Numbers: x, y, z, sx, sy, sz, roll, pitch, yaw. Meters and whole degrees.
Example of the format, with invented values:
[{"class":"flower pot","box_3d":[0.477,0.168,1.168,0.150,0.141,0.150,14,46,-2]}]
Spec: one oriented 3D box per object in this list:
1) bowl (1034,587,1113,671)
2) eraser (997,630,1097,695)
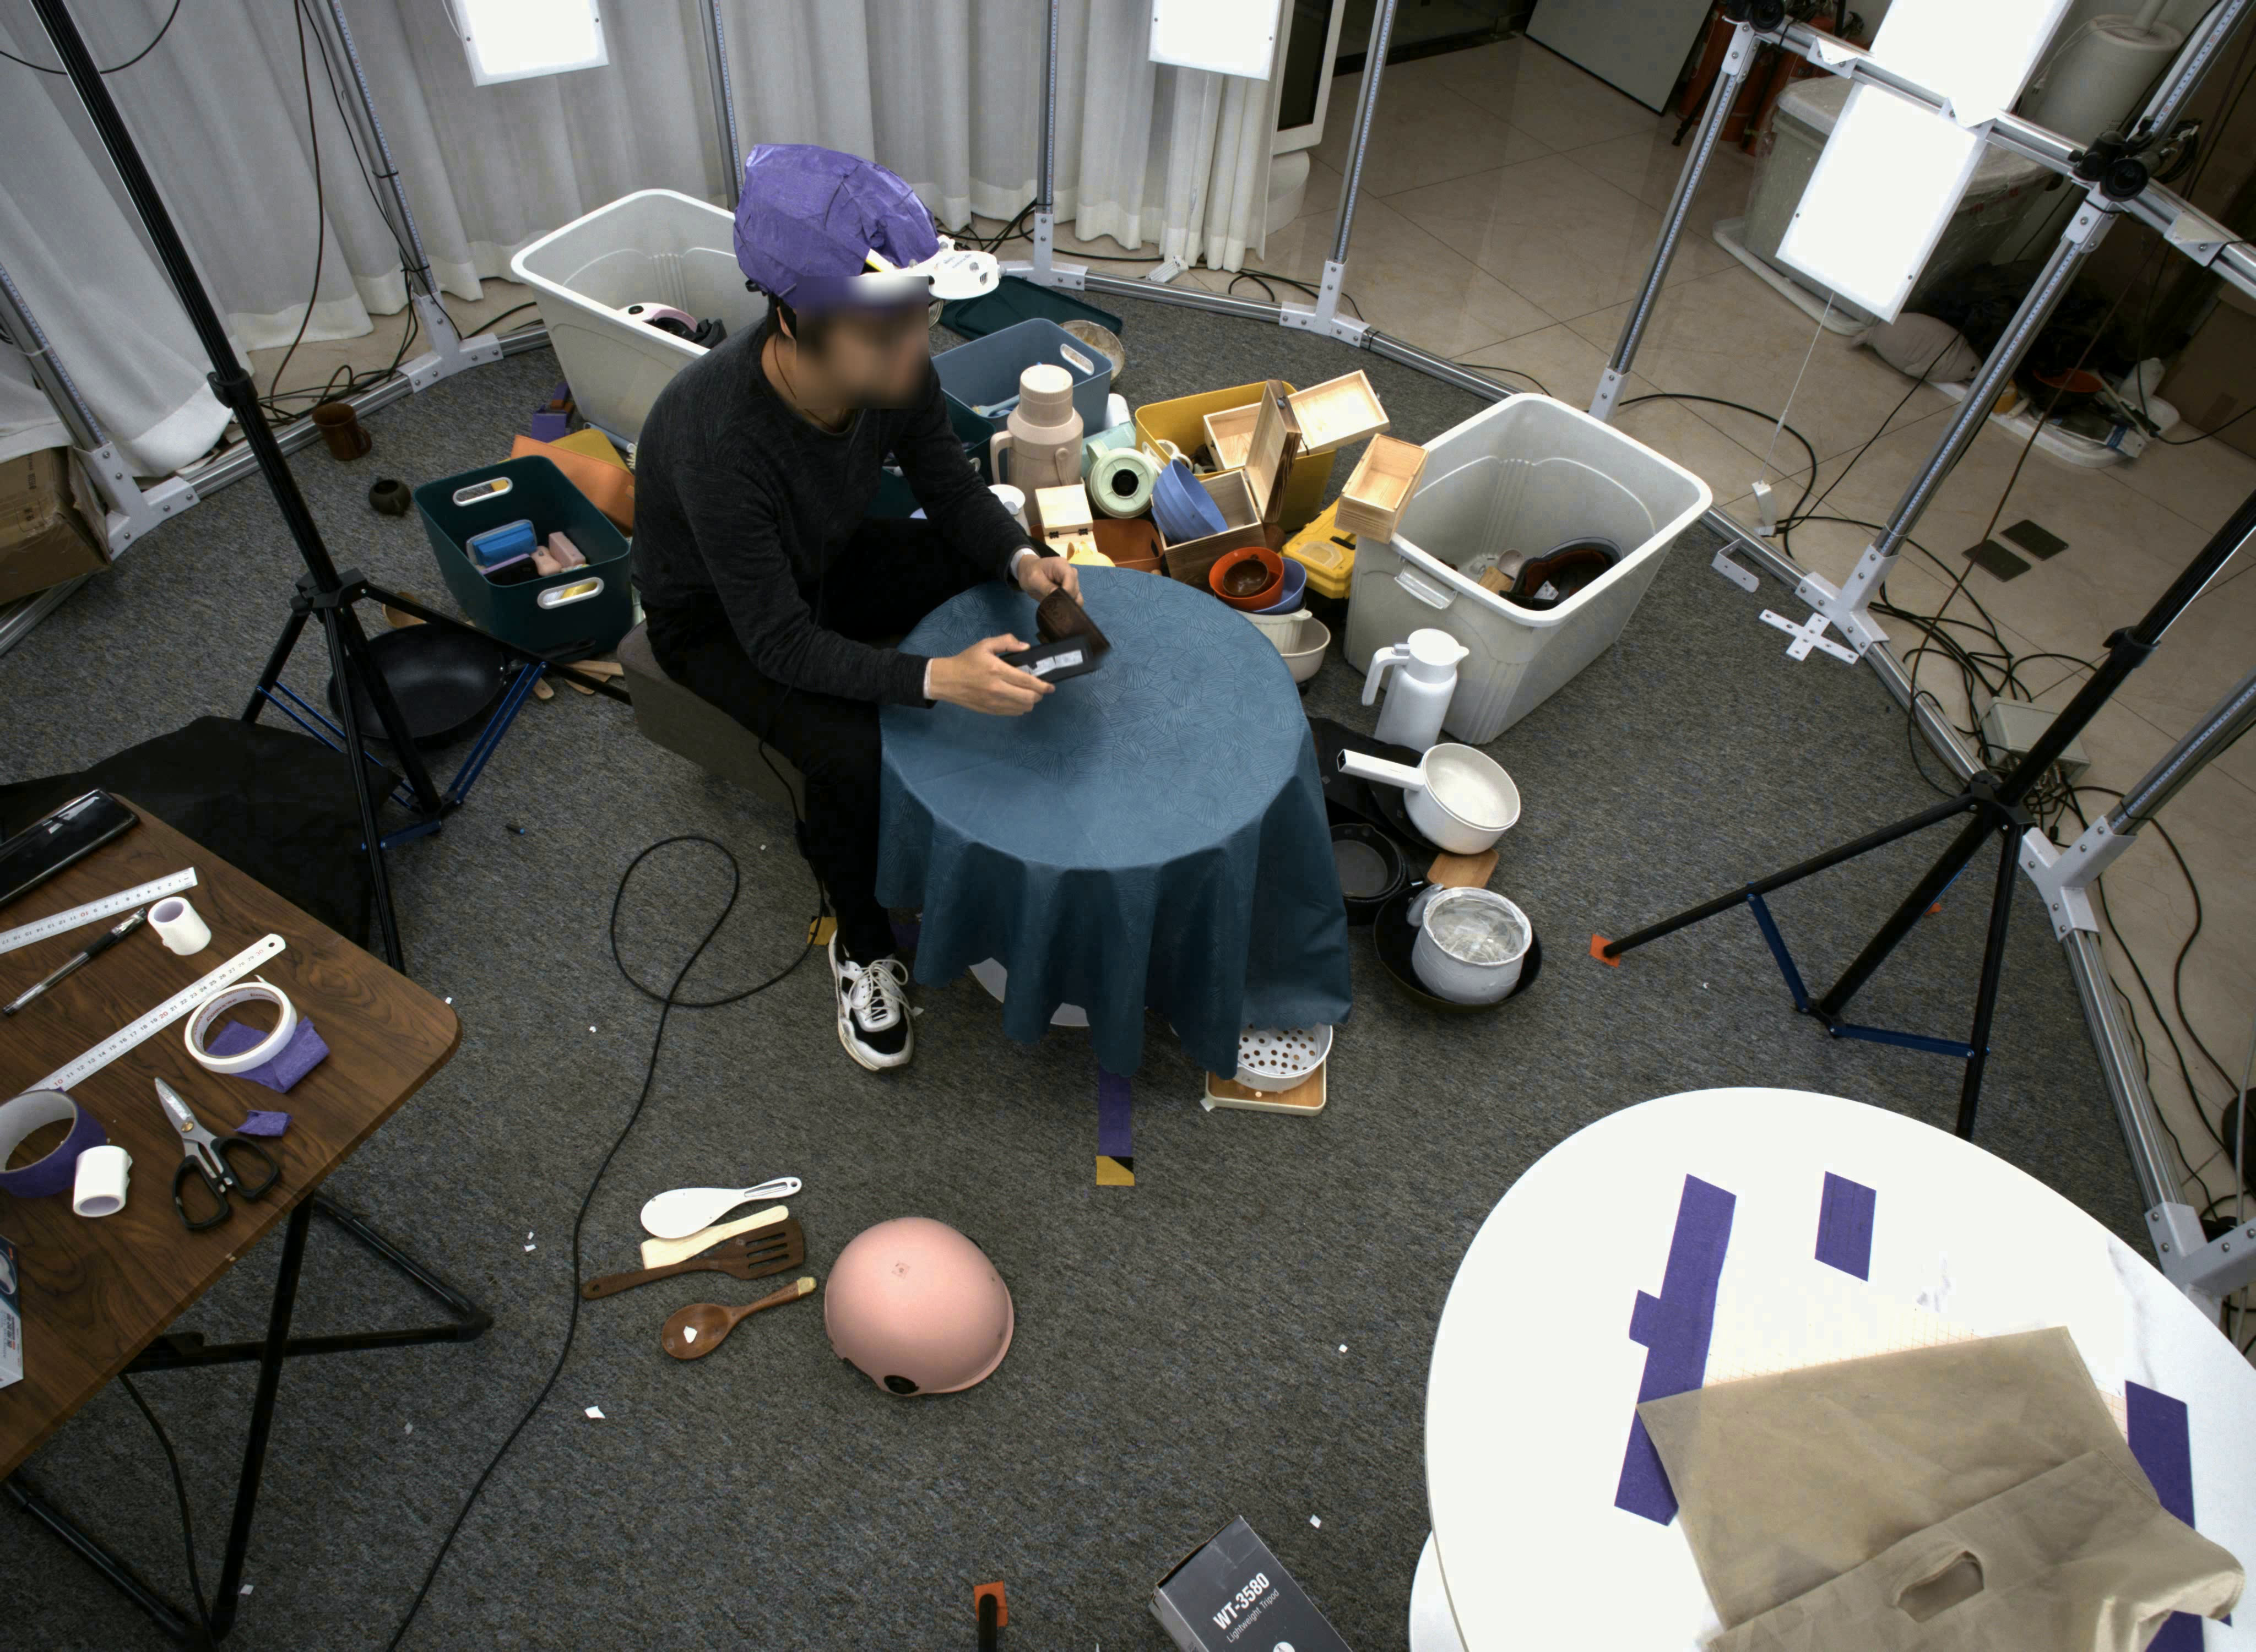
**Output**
[{"class":"bowl","box_3d":[-0.083,-0.259,1.745,0.070,0.116,0.120,-40,59,0]},{"class":"eraser","box_3d":[-0.105,-0.216,1.688,0.125,0.053,0.031,-15,9,14]}]
